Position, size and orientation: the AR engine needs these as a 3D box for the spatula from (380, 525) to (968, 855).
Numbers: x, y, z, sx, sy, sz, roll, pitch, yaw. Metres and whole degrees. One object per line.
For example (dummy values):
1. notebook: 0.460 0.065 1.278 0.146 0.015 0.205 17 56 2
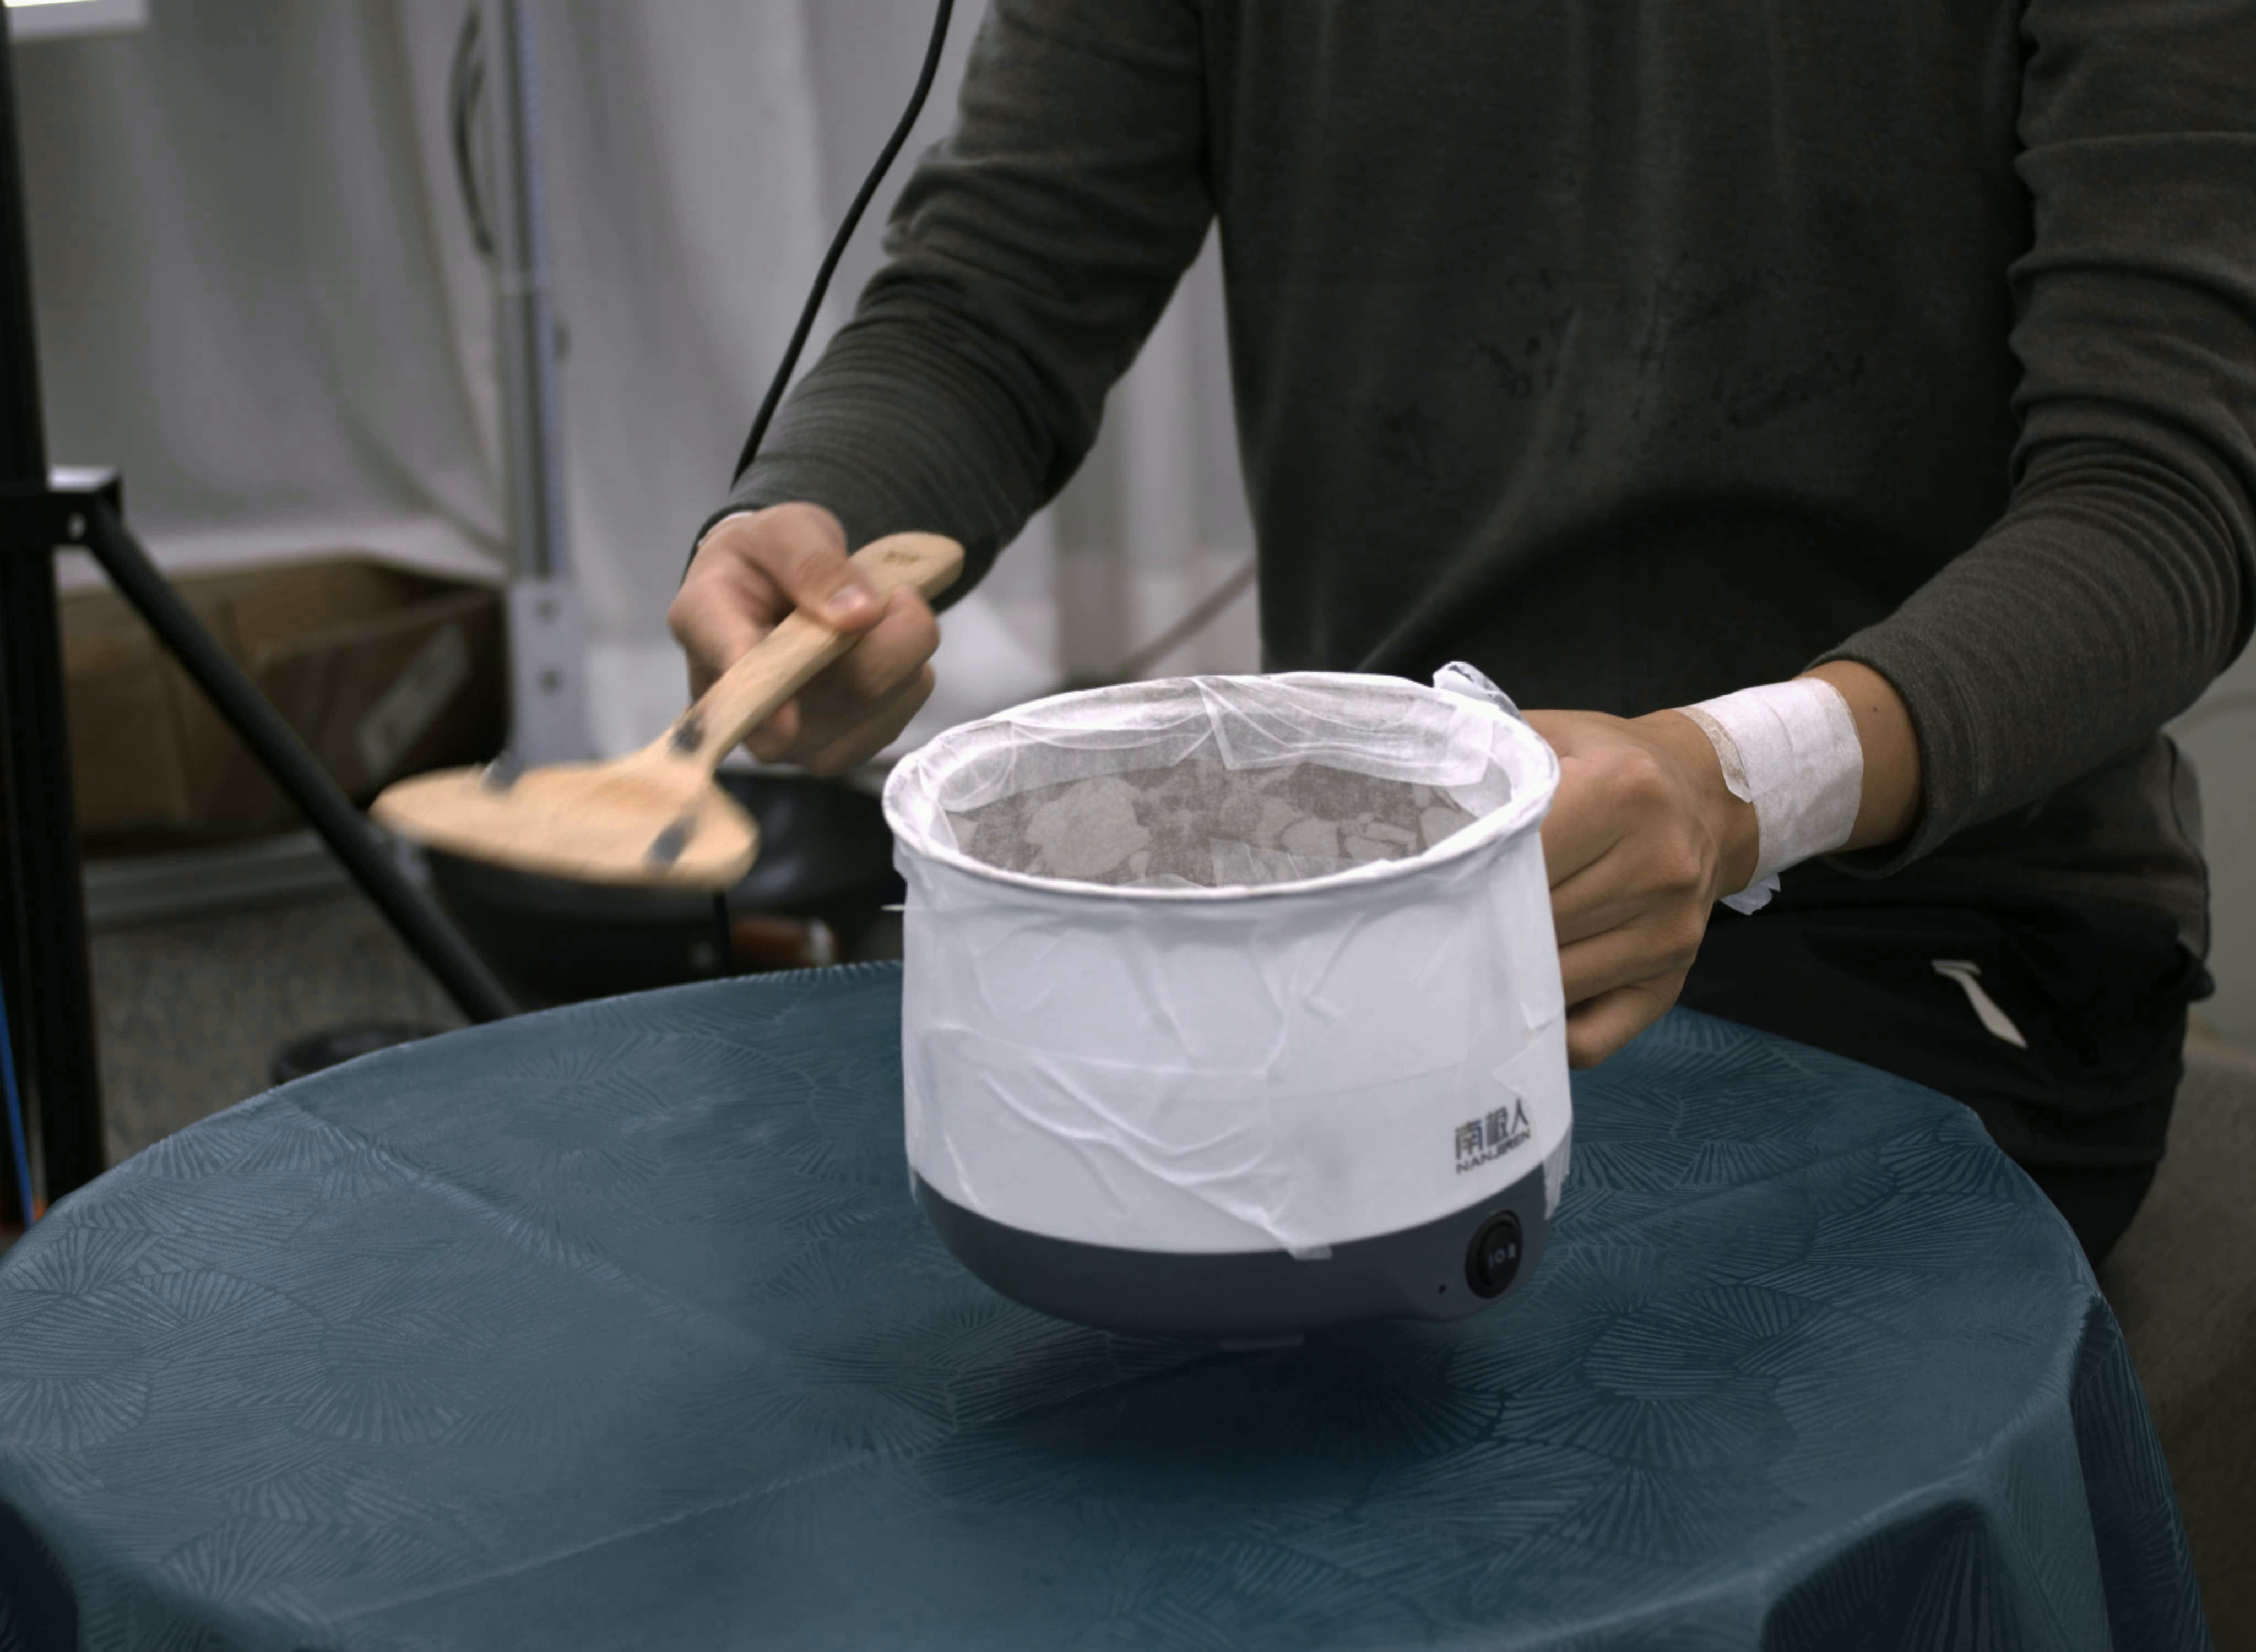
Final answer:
1. spatula: -0.108 -0.046 1.525 0.096 0.018 0.388 13 18 10

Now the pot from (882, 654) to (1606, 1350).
1. pot: 0.045 0.038 1.411 0.183 0.136 0.229 14 26 40
